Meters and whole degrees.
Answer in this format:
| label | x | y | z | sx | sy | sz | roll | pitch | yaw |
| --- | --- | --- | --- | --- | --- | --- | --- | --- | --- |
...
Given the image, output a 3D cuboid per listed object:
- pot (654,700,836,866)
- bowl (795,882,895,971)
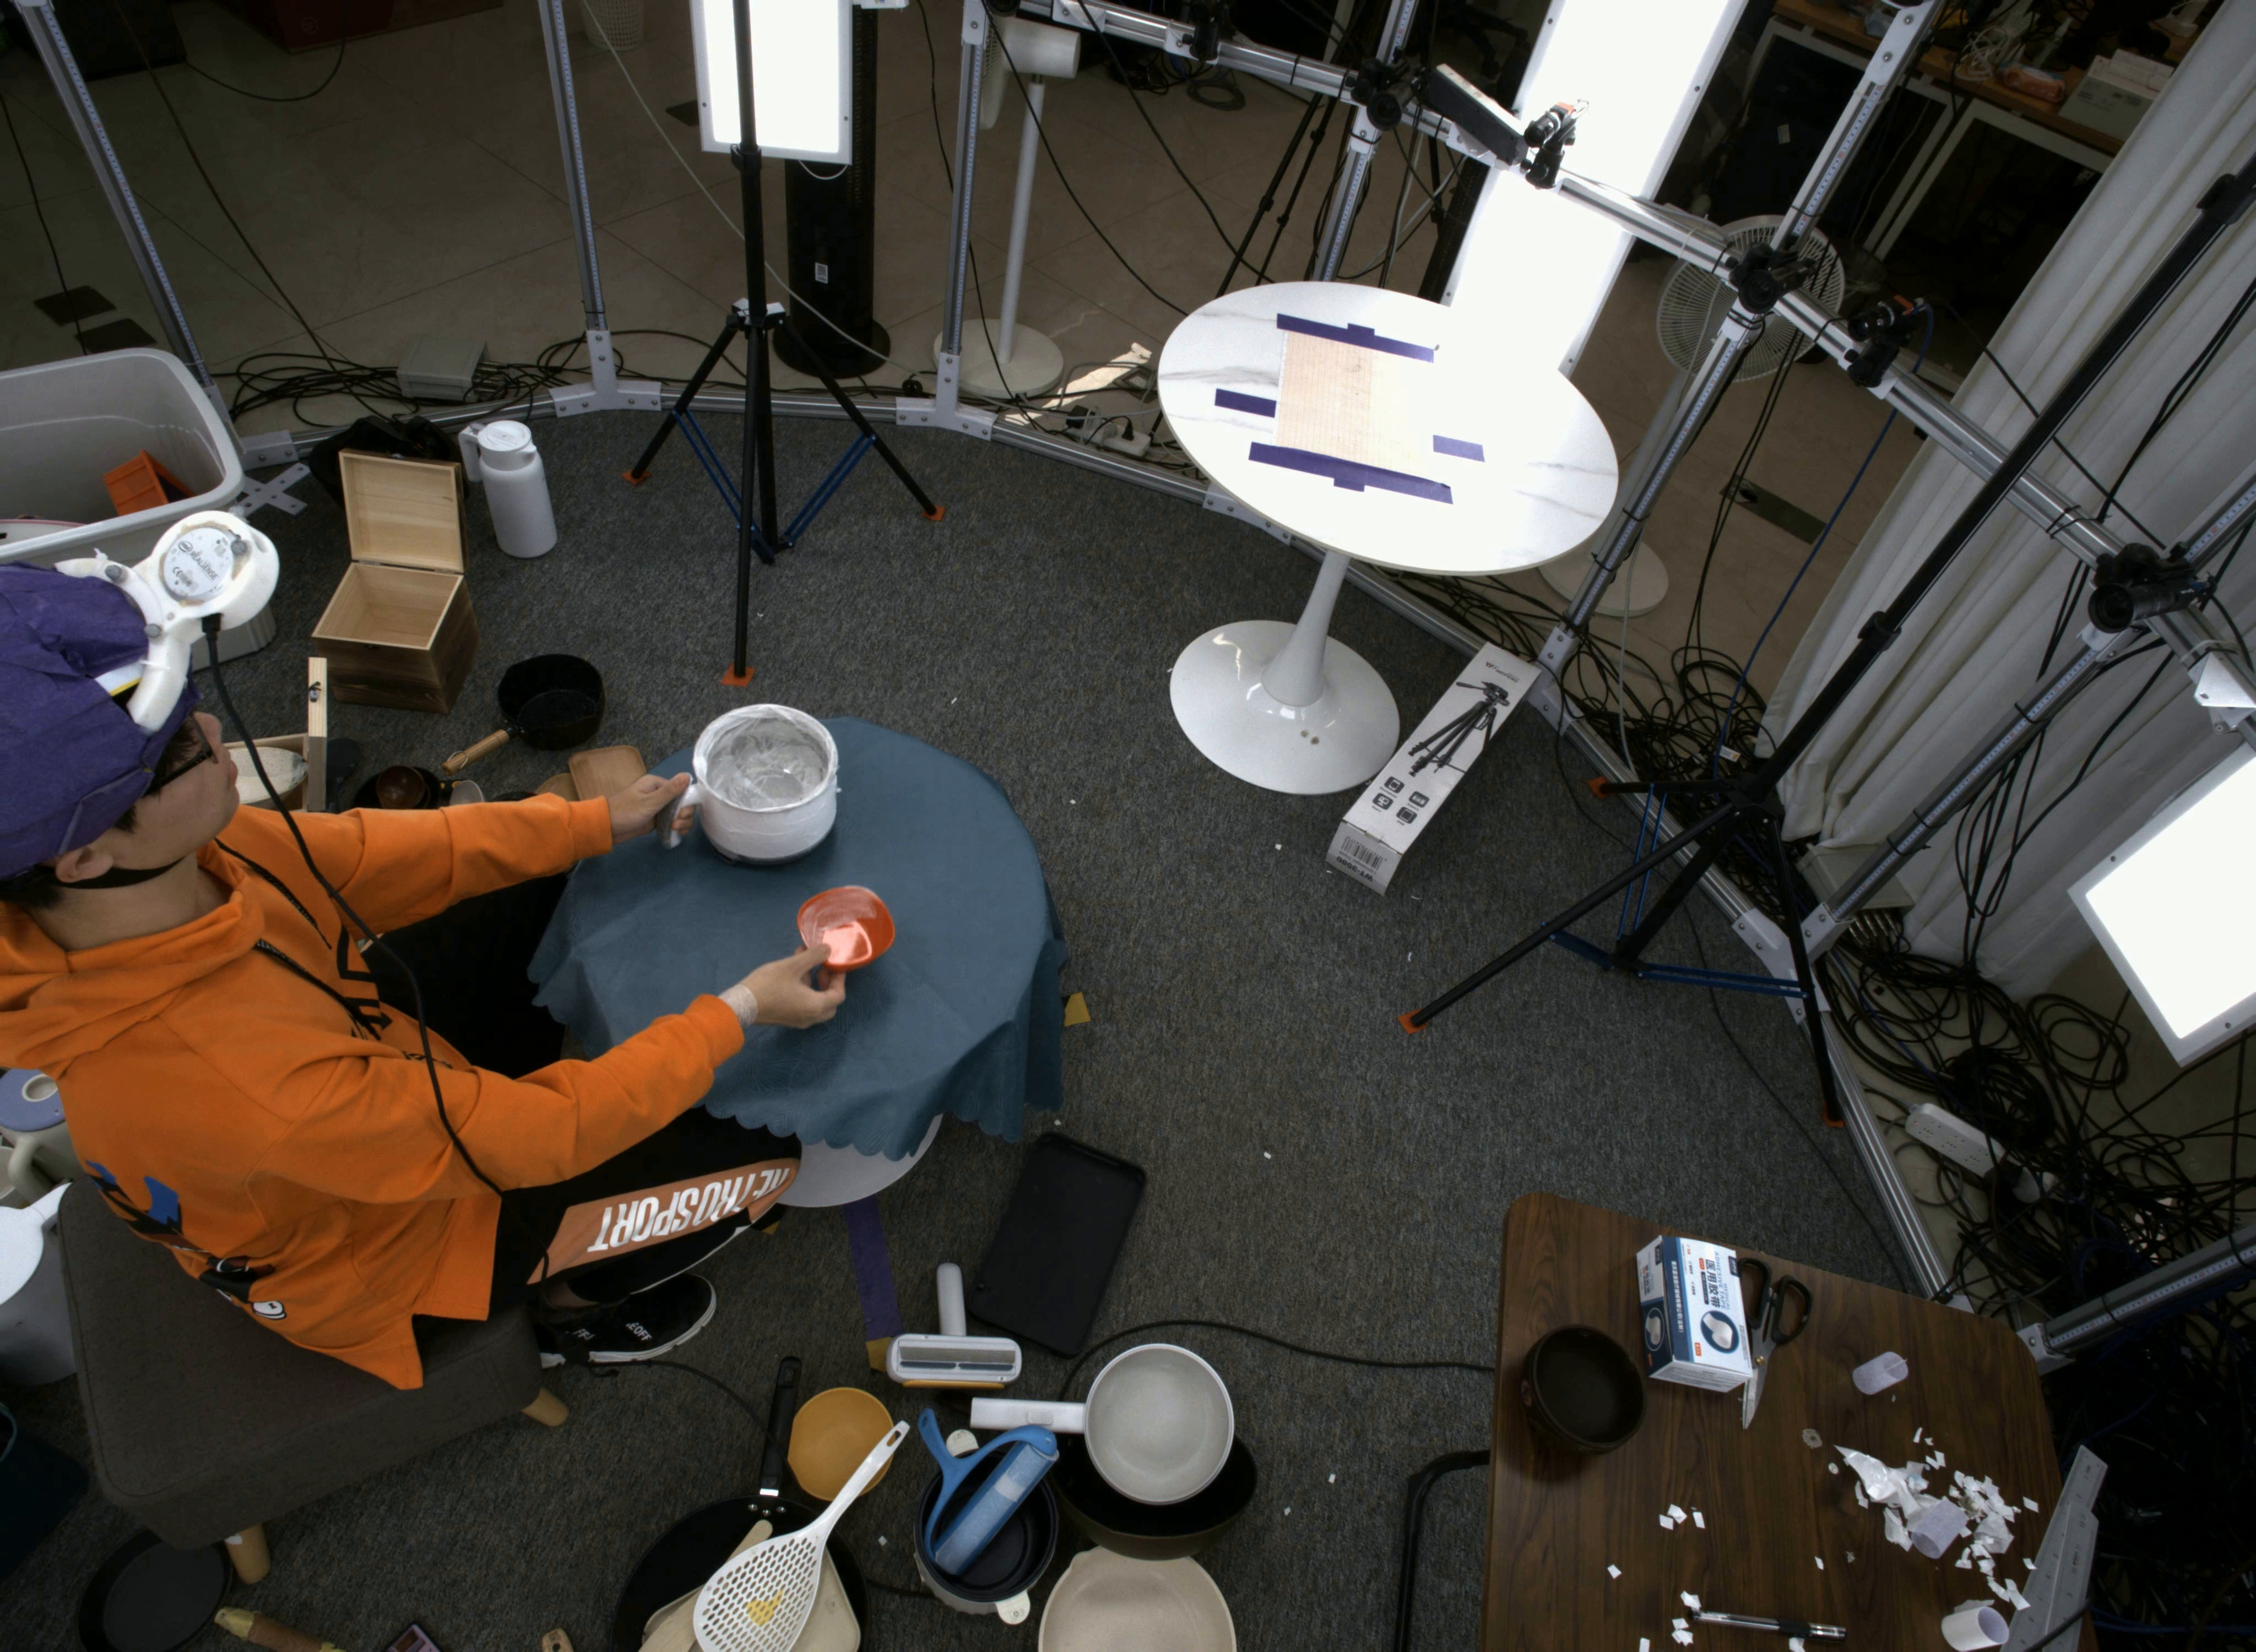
| label | x | y | z | sx | sy | sz | roll | pitch | yaw |
| --- | --- | --- | --- | --- | --- | --- | --- | --- | --- |
| pot | -0.487 | -0.042 | 1.637 | 0.235 | 0.139 | 0.174 | -20 | 59 | -28 |
| bowl | -0.339 | 0.127 | 1.554 | 0.119 | 0.052 | 0.117 | 10 | 51 | -10 |
